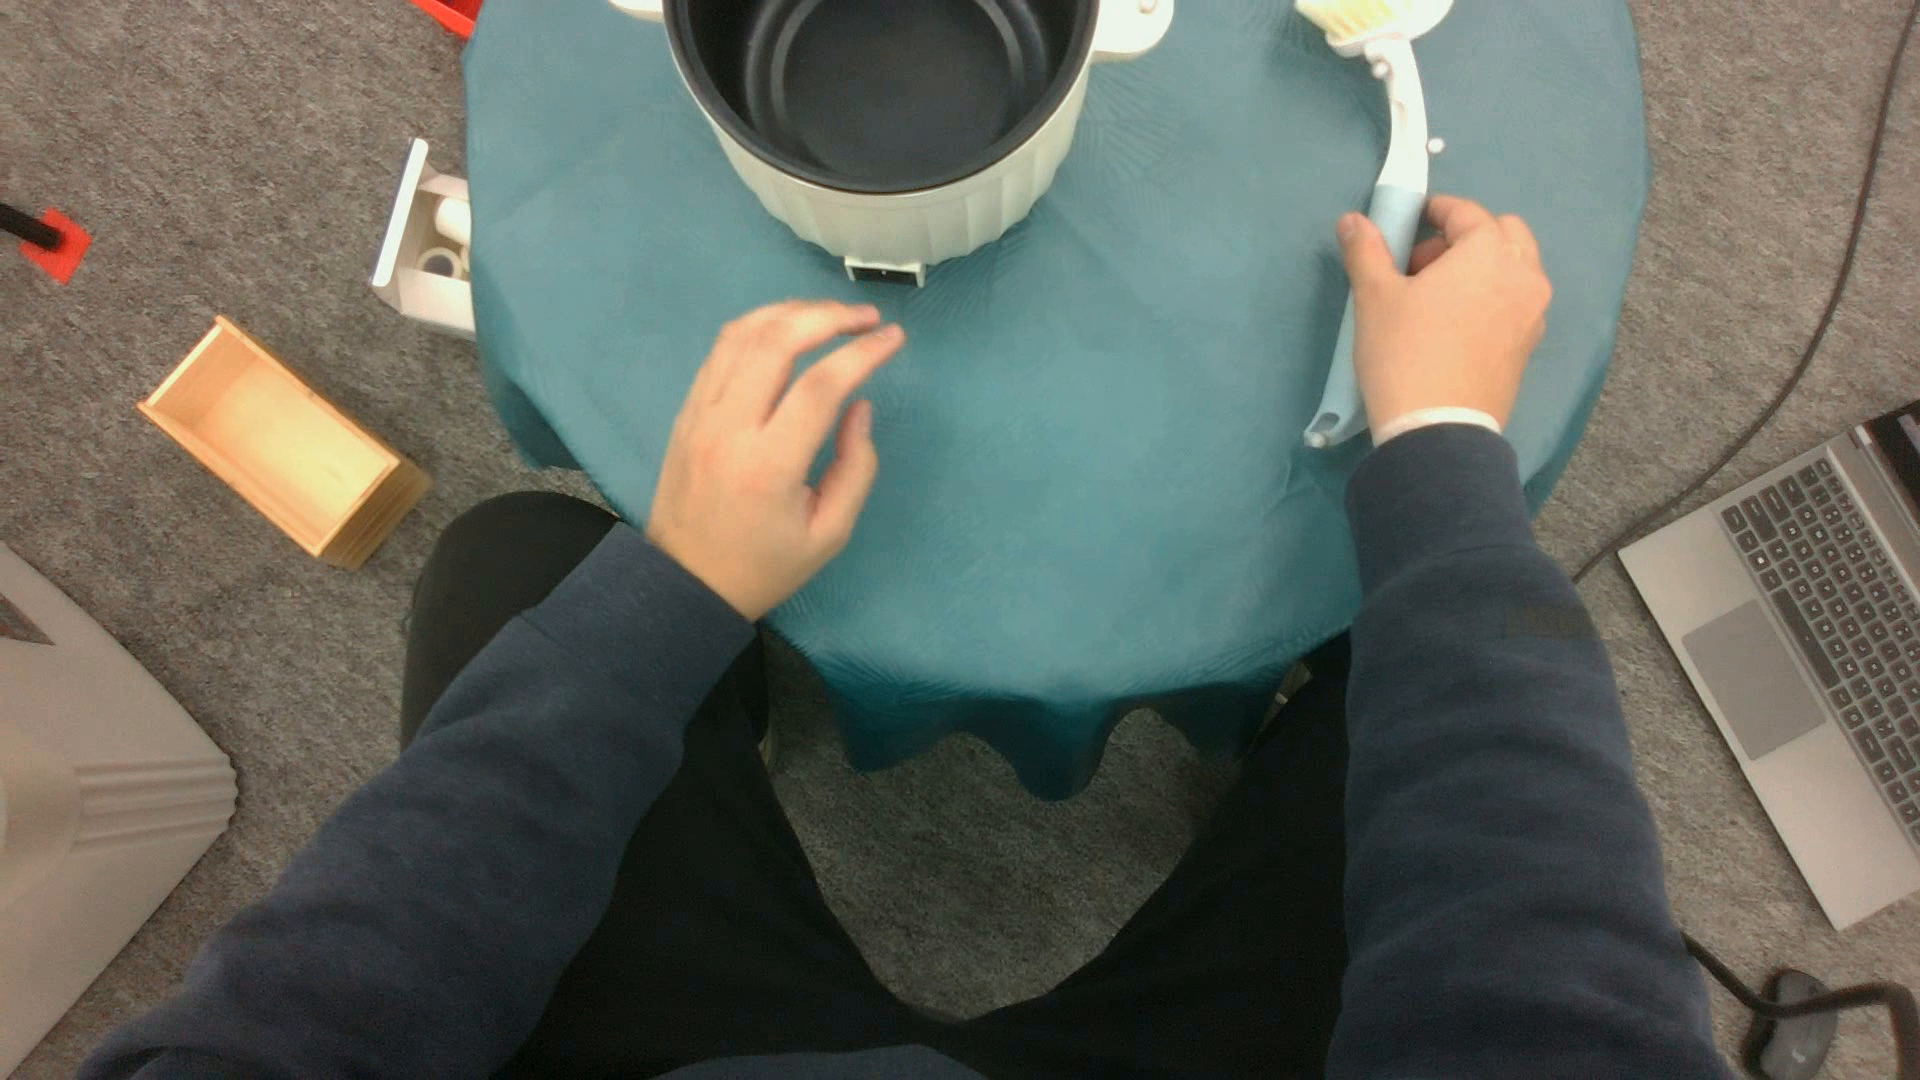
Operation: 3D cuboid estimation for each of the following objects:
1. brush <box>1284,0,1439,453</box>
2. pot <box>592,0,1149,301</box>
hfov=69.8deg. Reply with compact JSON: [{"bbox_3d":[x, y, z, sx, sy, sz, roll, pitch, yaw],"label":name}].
[{"bbox_3d":[0.192,-0.205,0.670,0.084,0.083,0.326,13,81,0],"label":"brush"},{"bbox_3d":[-0.037,-0.221,0.652,0.240,0.142,0.190,2,85,2],"label":"pot"}]
